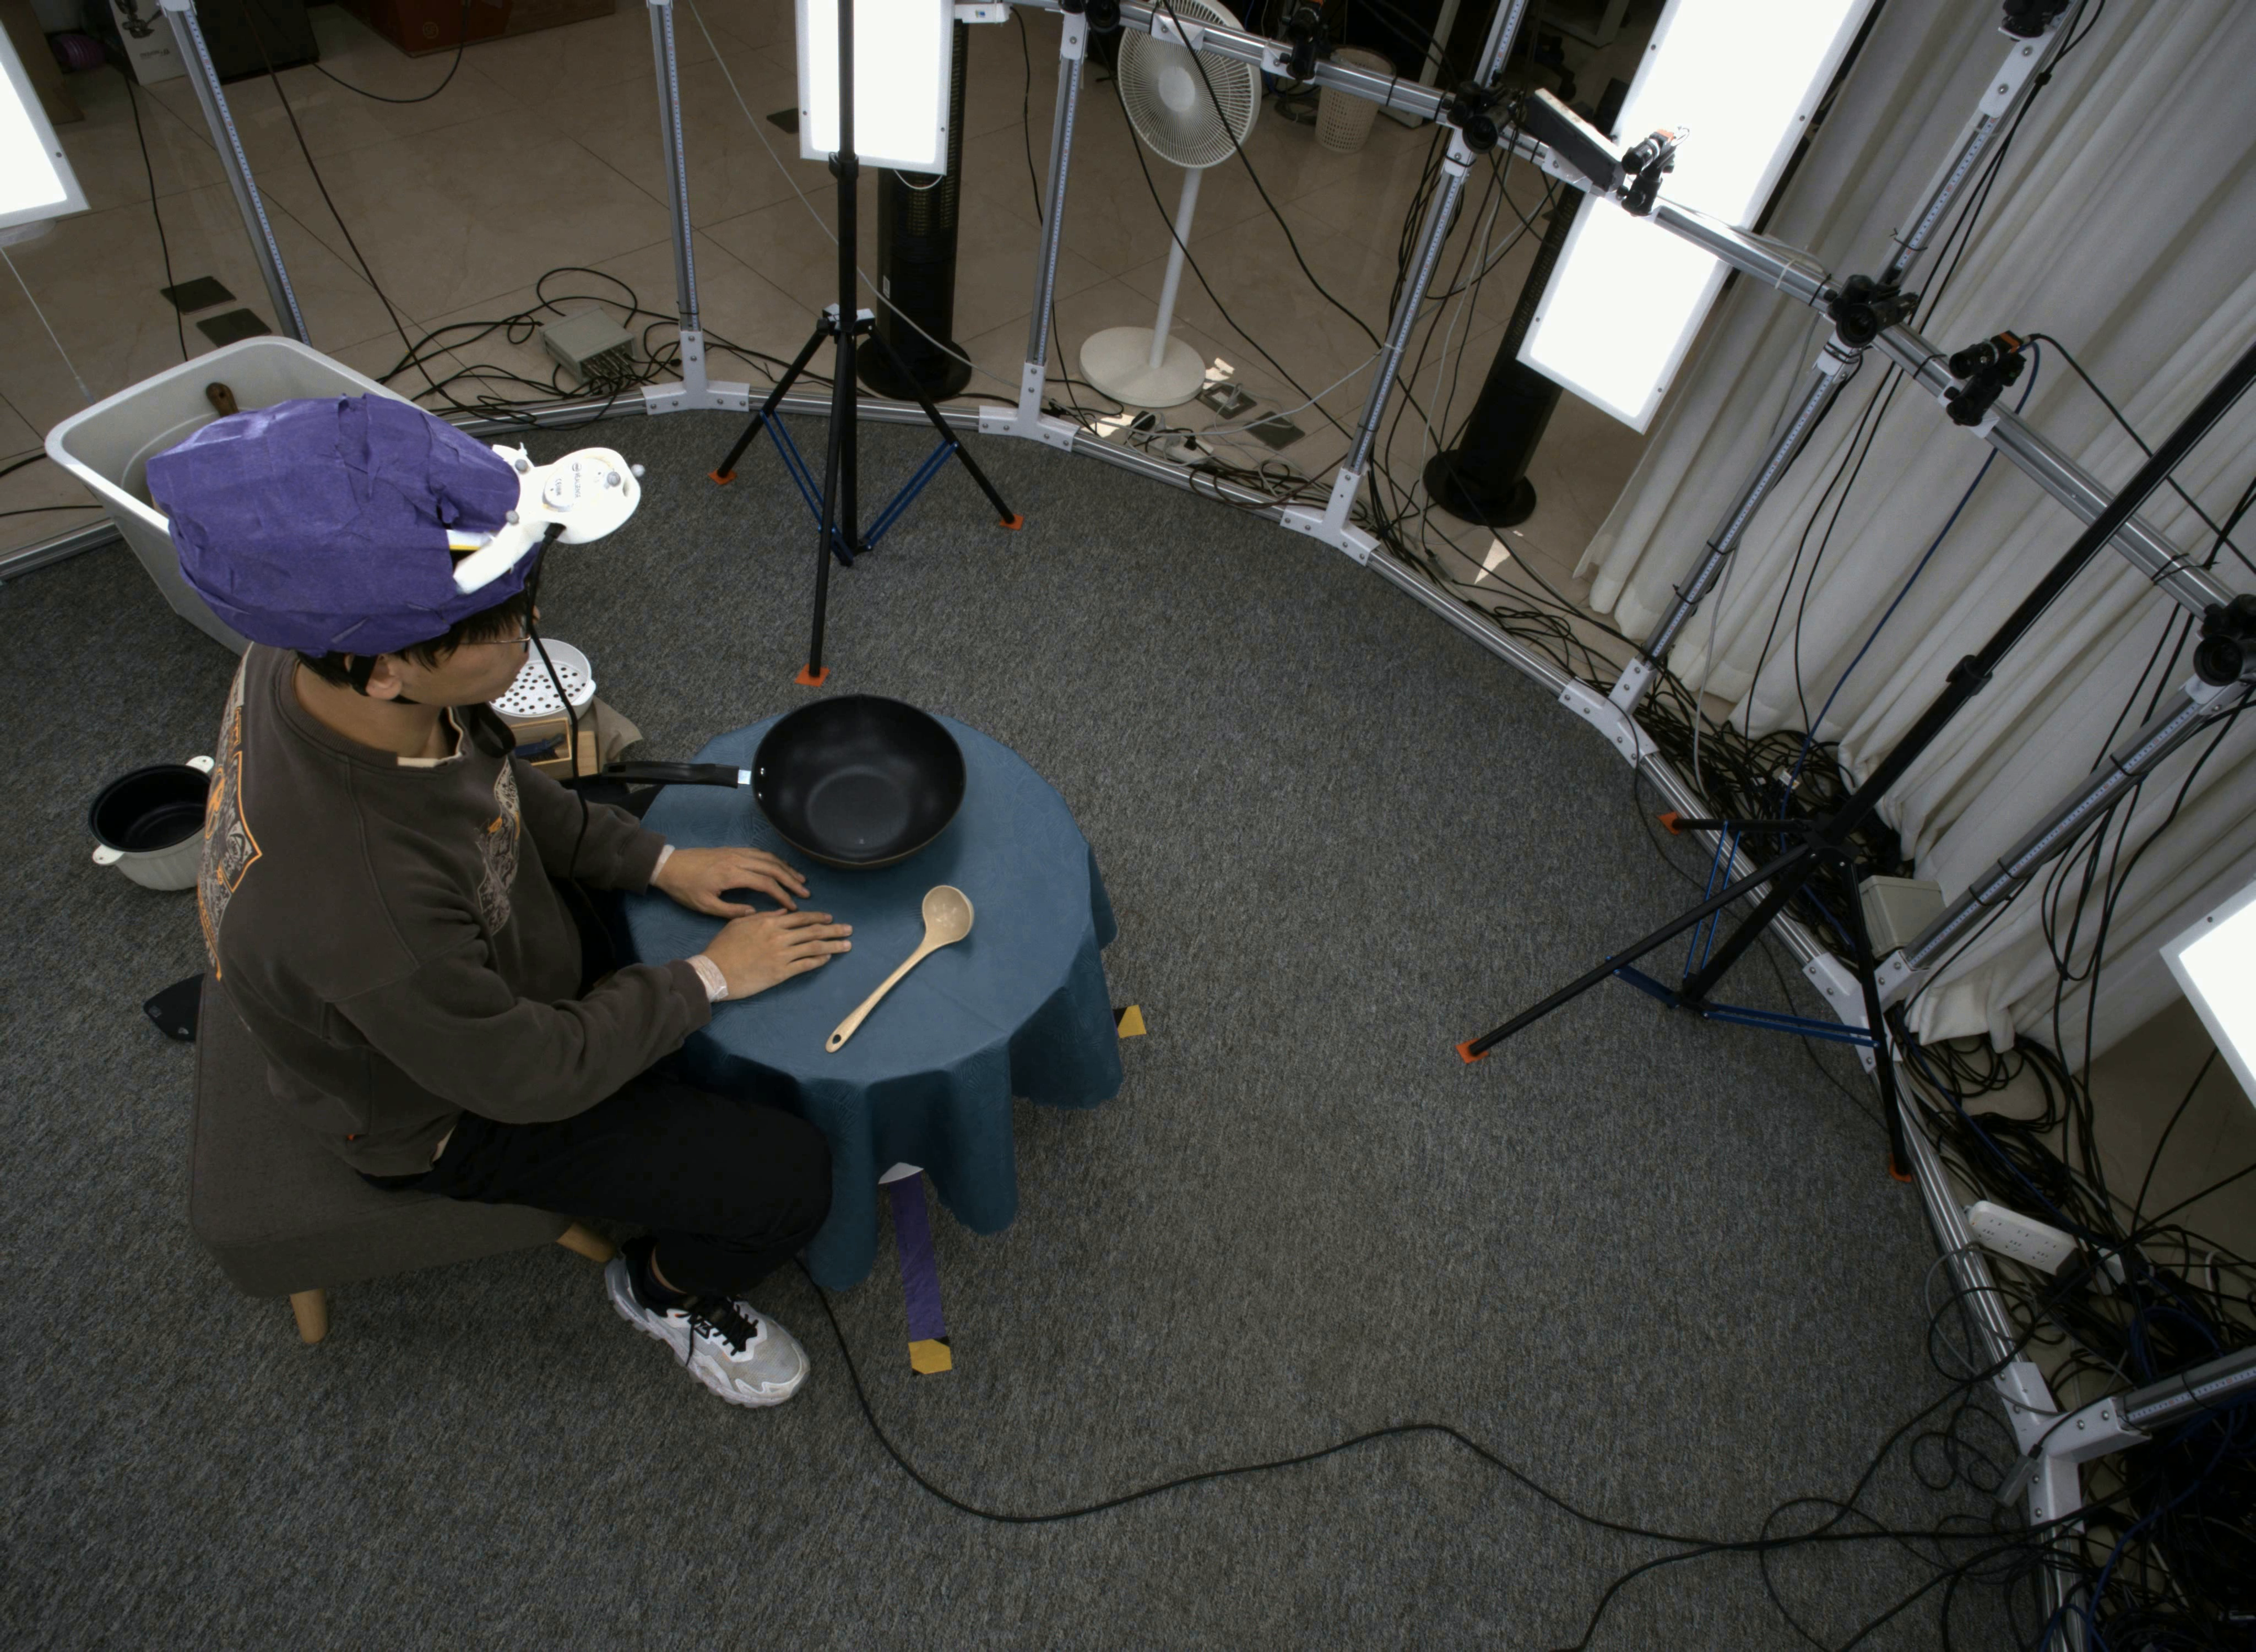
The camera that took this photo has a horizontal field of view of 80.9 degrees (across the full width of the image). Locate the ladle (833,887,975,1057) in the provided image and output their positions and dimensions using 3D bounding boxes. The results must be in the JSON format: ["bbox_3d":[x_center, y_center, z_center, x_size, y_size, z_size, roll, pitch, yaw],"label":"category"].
[{"bbox_3d":[-0.280,0.172,1.600,0.071,0.074,0.254,32,52,10],"label":"ladle"}]

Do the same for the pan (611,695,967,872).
[{"bbox_3d":[-0.444,-0.044,1.713,0.463,0.089,0.282,0,54,-12],"label":"pan"}]
